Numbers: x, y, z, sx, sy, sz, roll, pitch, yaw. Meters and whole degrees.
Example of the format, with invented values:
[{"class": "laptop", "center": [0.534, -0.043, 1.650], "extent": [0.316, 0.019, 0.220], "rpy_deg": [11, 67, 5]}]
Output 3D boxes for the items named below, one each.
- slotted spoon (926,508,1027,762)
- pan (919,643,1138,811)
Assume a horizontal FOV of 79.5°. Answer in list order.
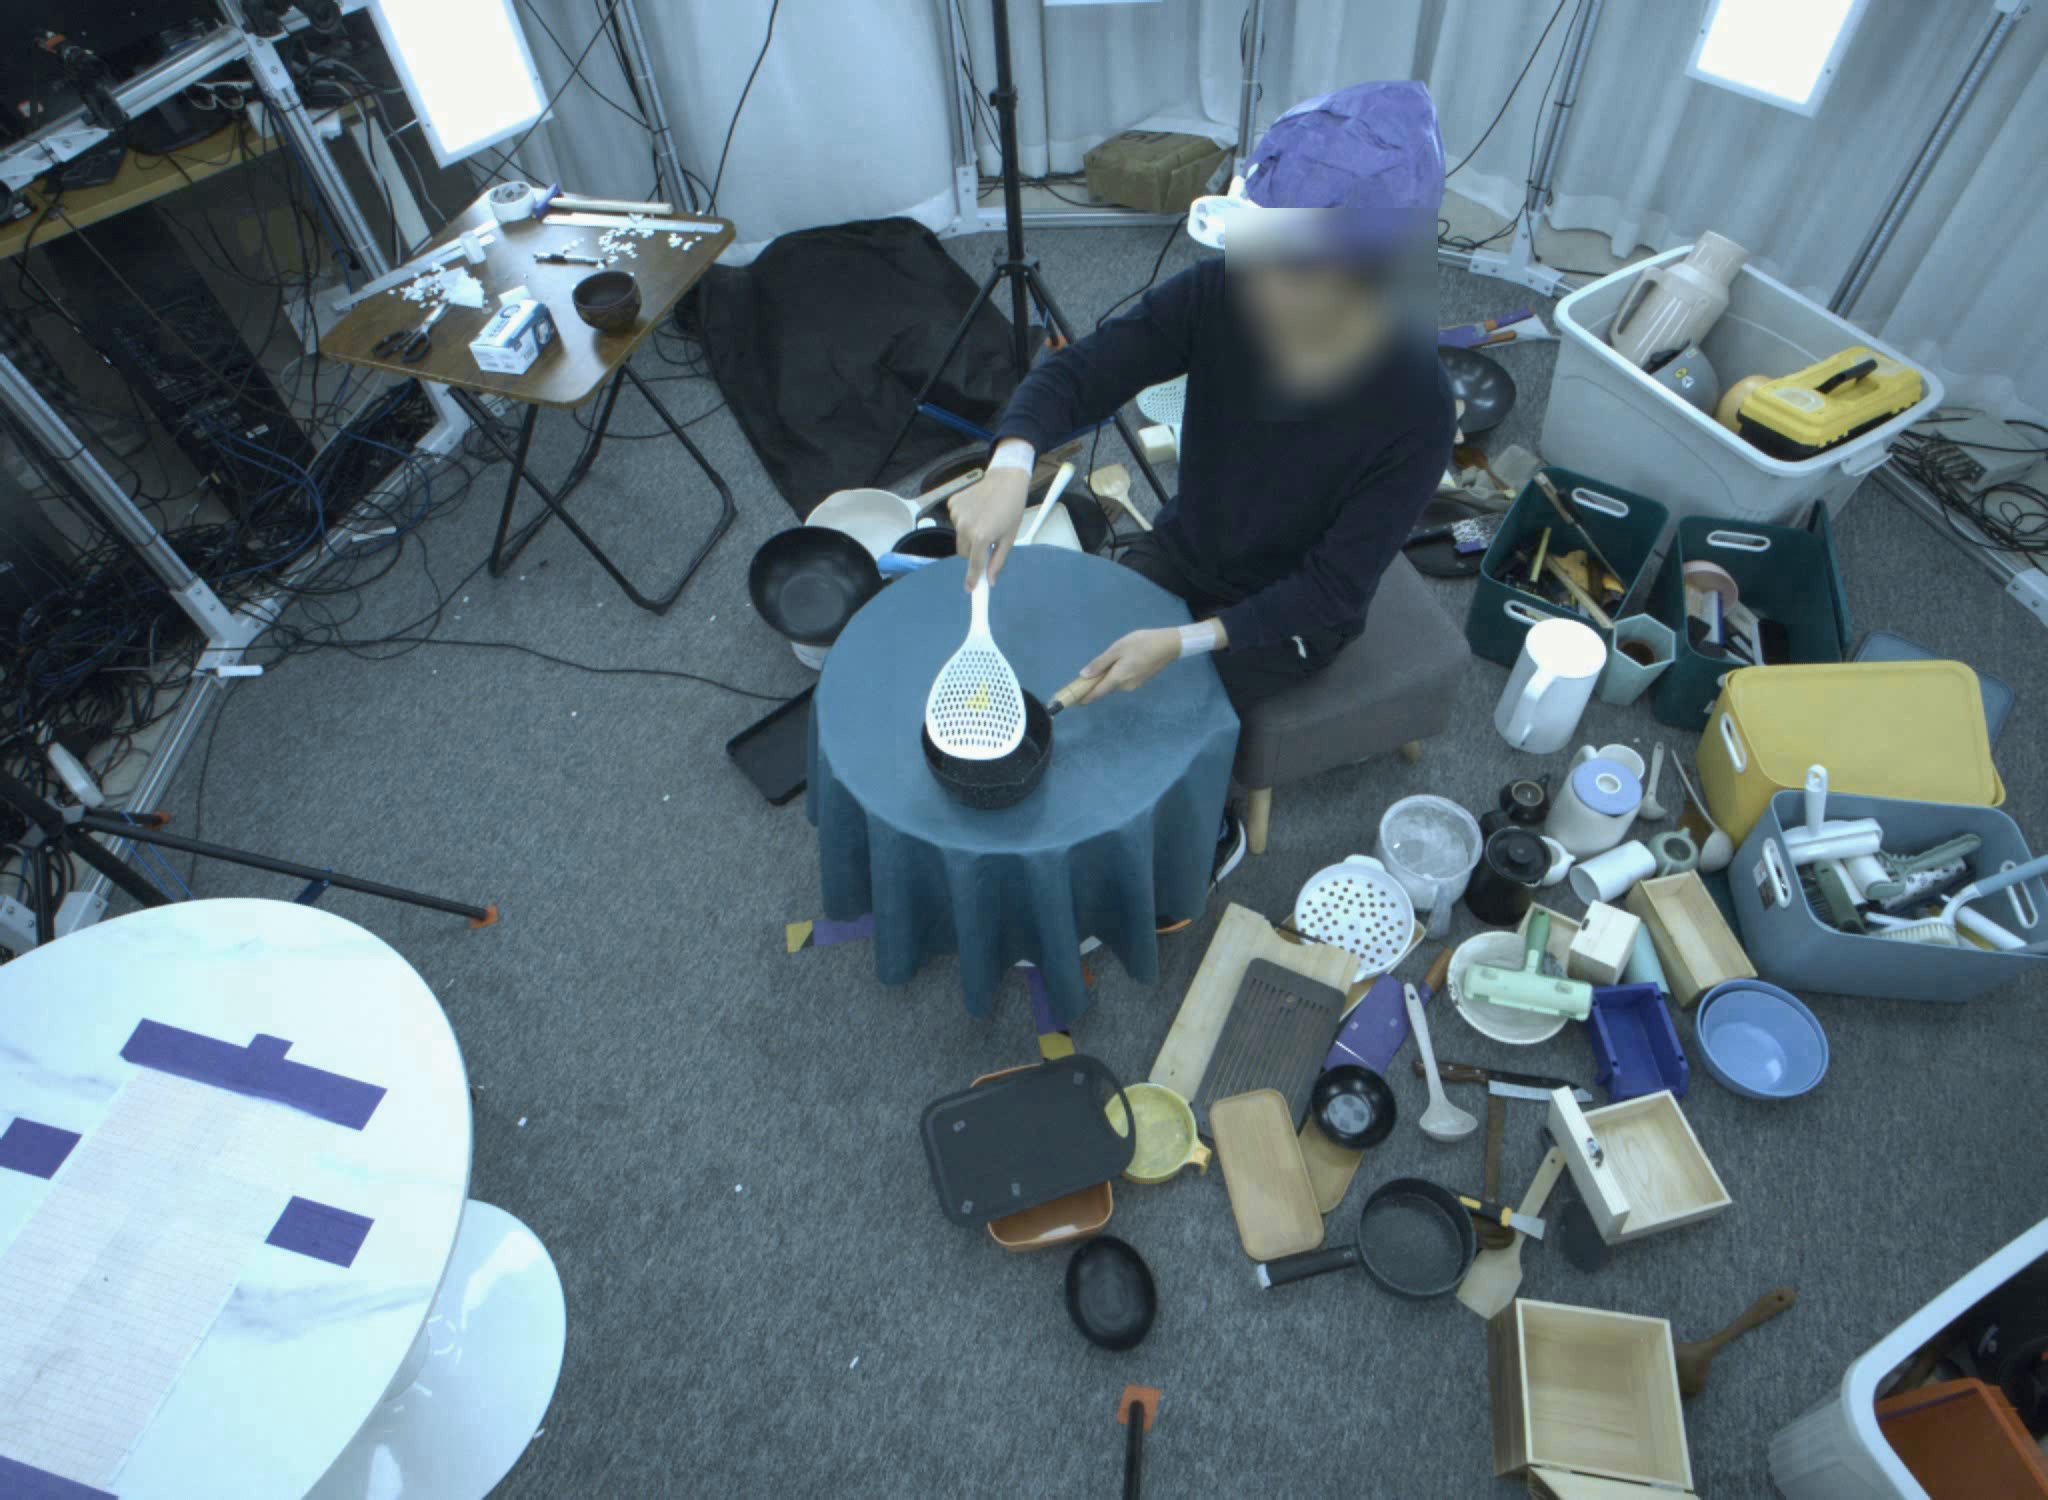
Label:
[{"class": "slotted spoon", "center": [-0.063, -0.144, 1.612], "extent": [0.137, 0.351, 0.050], "rpy_deg": [0, 32, -1]}, {"class": "pan", "center": [0.016, -0.043, 1.751], "extent": [0.345, 0.109, 0.203], "rpy_deg": [-30, 58, -16]}]
